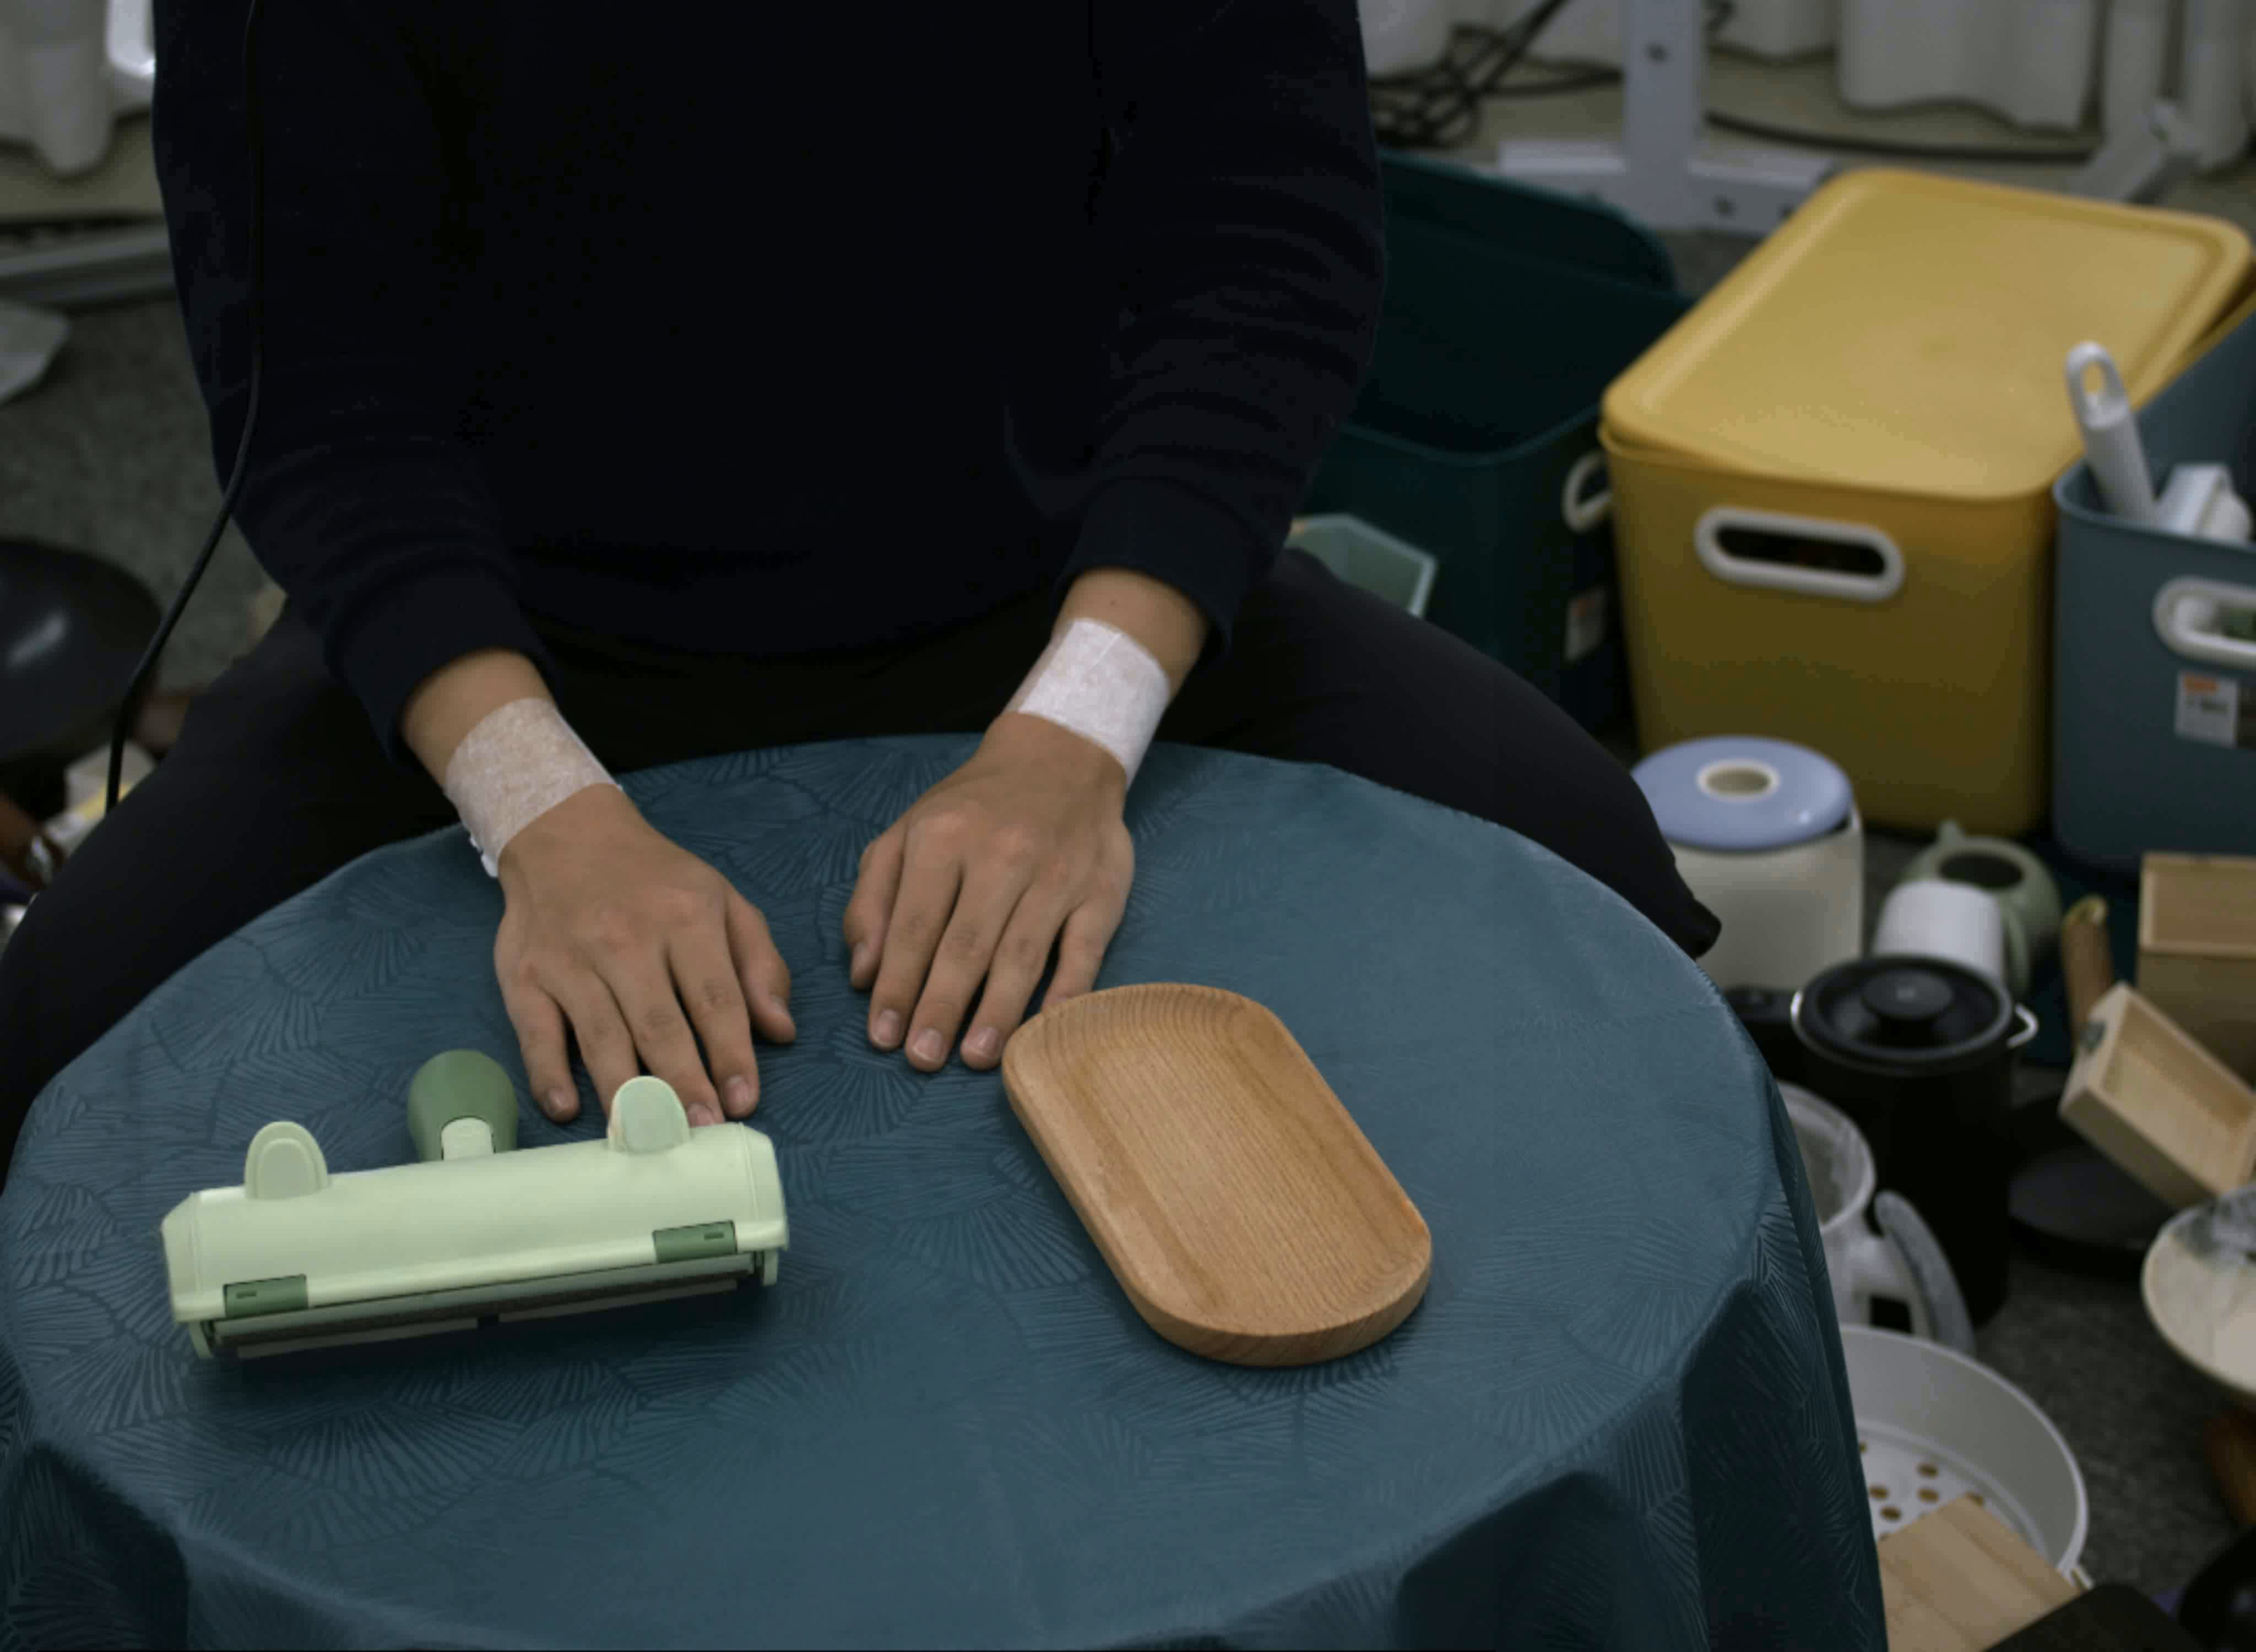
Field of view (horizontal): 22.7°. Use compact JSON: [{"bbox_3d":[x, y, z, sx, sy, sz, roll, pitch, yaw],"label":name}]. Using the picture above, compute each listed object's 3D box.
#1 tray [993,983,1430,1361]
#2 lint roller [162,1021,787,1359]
[{"bbox_3d":[0.026,0.112,1.861,0.102,0.020,0.233,-11,27,-16],"label":"tray"},{"bbox_3d":[-0.219,0.096,1.839,0.198,0.081,0.186,-7,33,-9],"label":"lint roller"}]
